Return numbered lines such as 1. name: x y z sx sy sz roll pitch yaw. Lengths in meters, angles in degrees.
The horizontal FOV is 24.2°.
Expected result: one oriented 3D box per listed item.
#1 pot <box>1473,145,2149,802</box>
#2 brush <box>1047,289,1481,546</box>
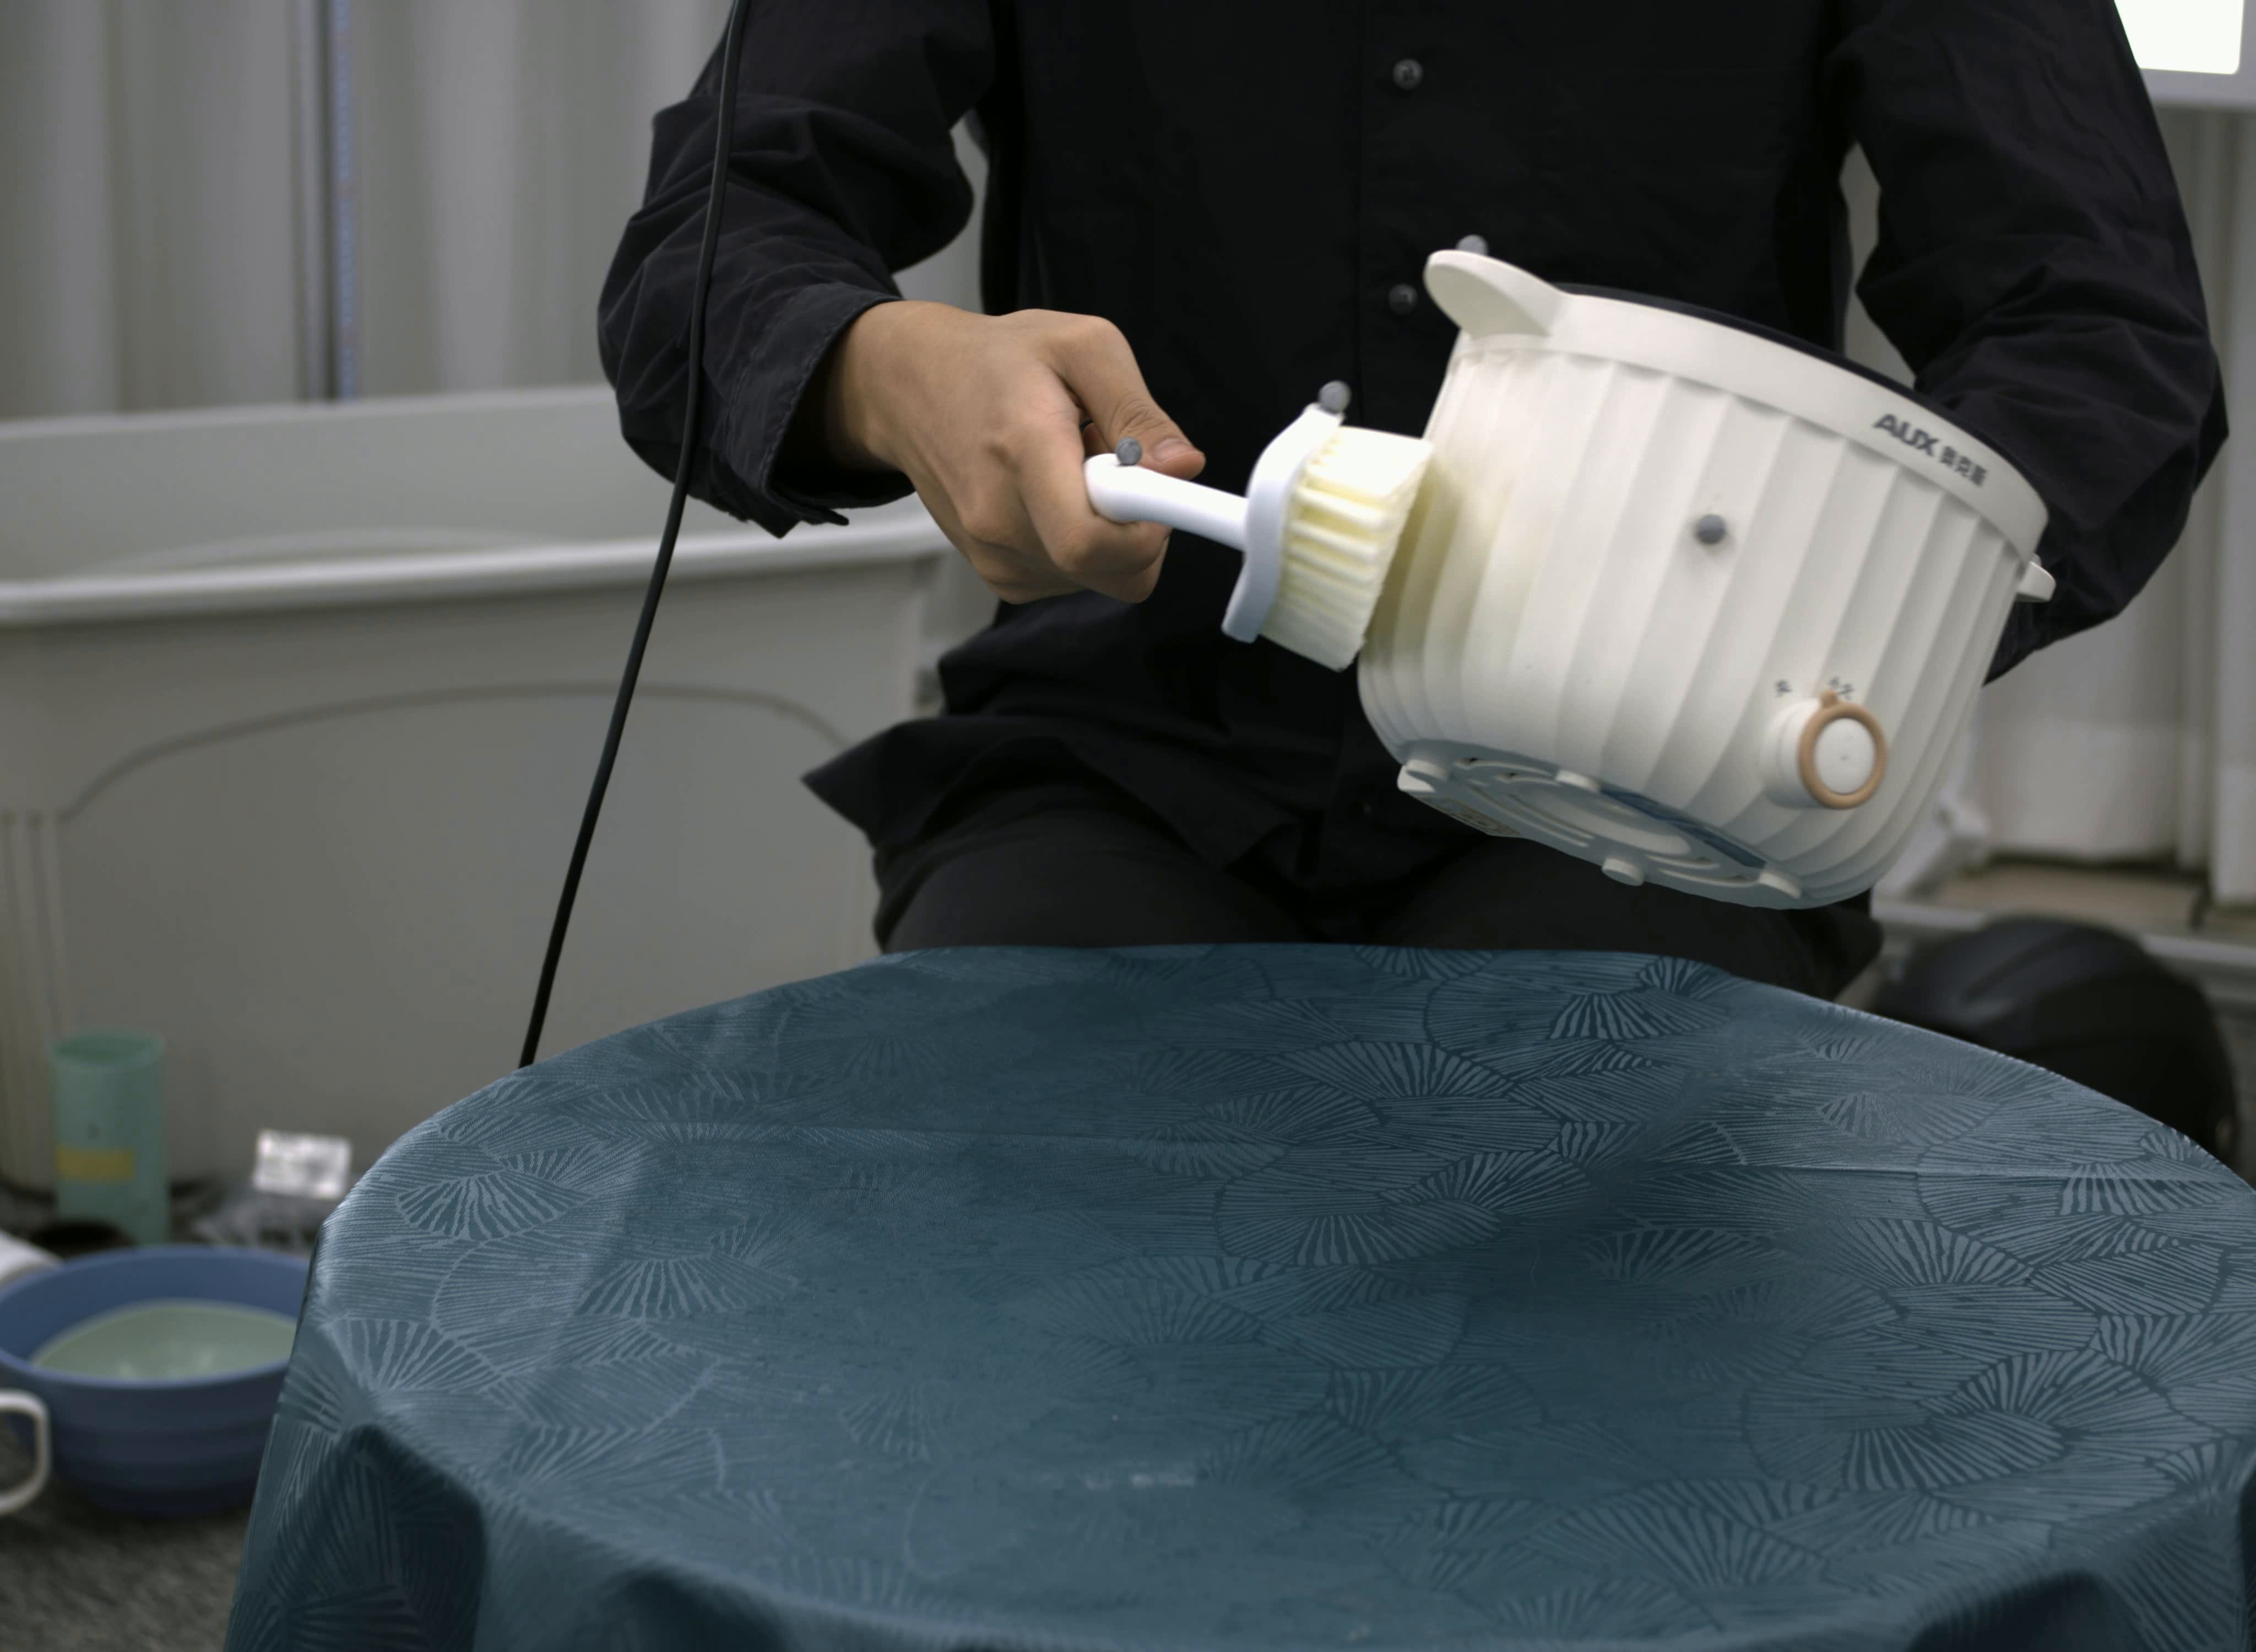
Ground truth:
1. pot: 0.201 -0.092 1.575 0.243 0.142 0.188 25 -13 -31
2. brush: 0.055 -0.127 1.634 0.083 0.085 0.324 -37 9 -10
